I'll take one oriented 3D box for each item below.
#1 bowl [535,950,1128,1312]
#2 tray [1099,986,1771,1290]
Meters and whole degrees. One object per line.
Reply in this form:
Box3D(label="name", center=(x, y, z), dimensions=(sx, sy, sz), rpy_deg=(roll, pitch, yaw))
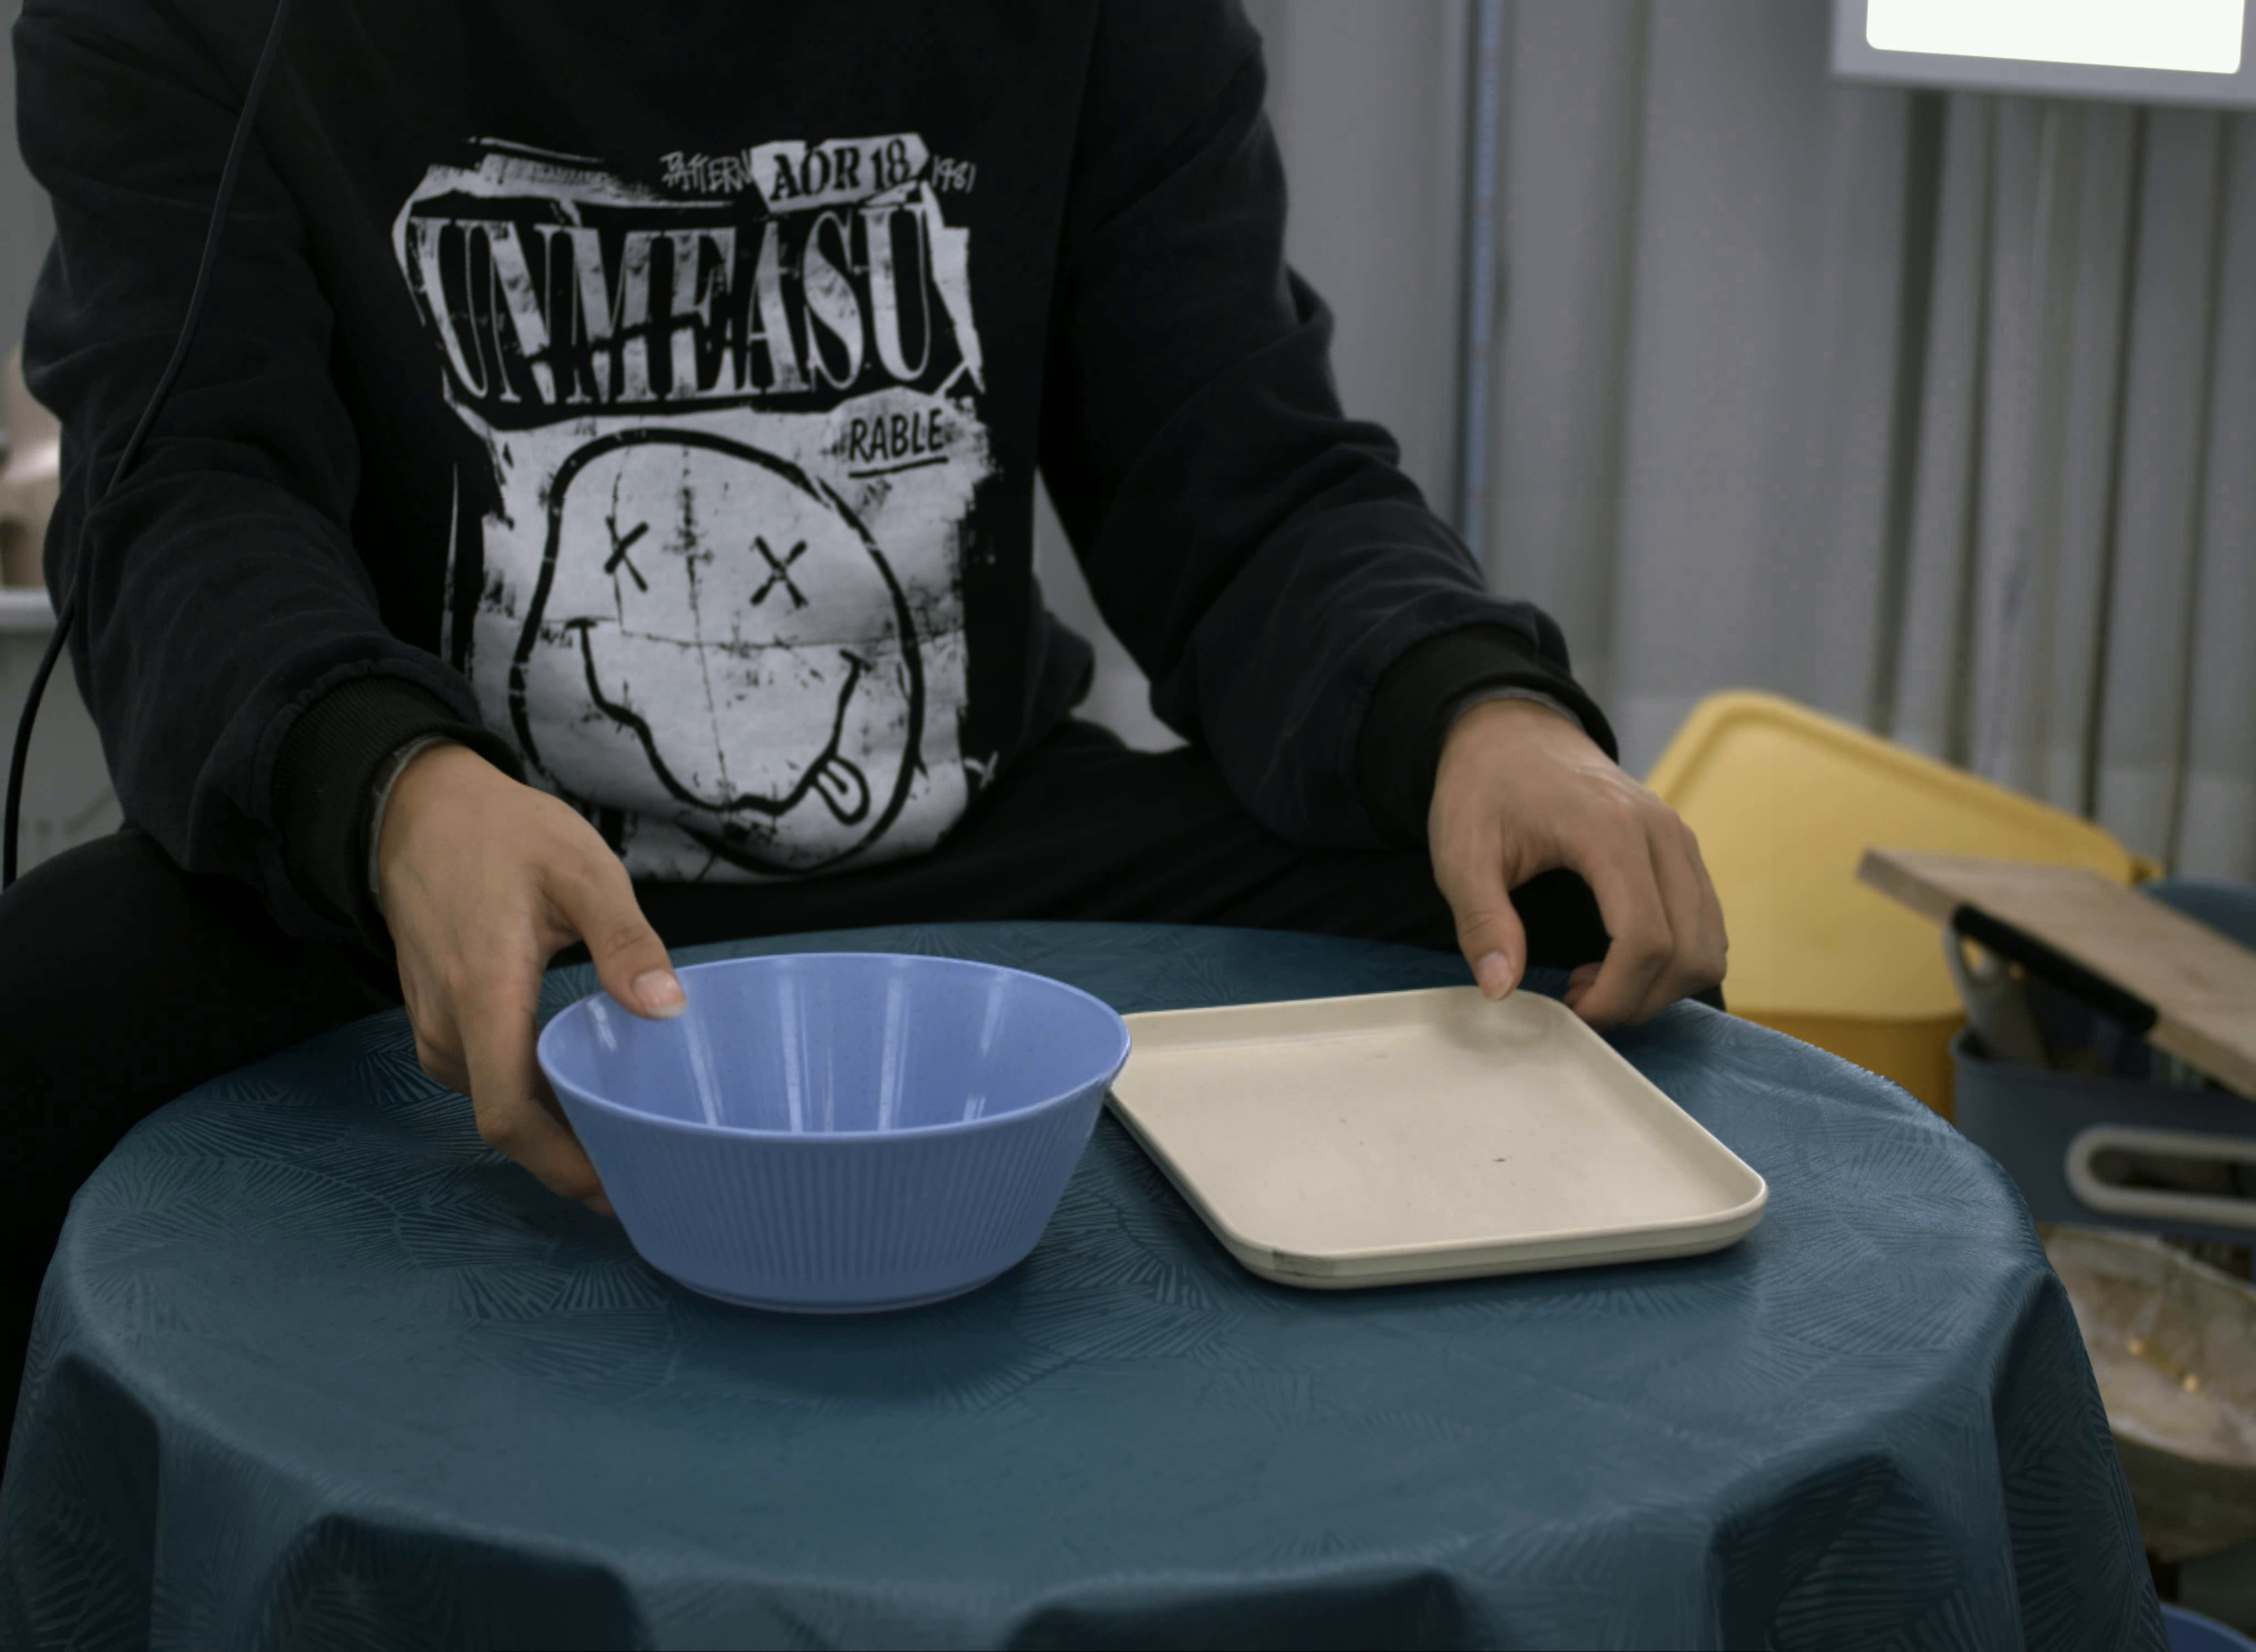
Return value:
Box3D(label="bowl", center=(-0.088, 0.093, 1.562), dimensions=(0.175, 0.071, 0.175), rpy_deg=(1, 17, 0))
Box3D(label="tray", center=(0.088, 0.096, 1.654), dimensions=(0.171, 0.017, 0.237), rpy_deg=(-3, 16, -15))
